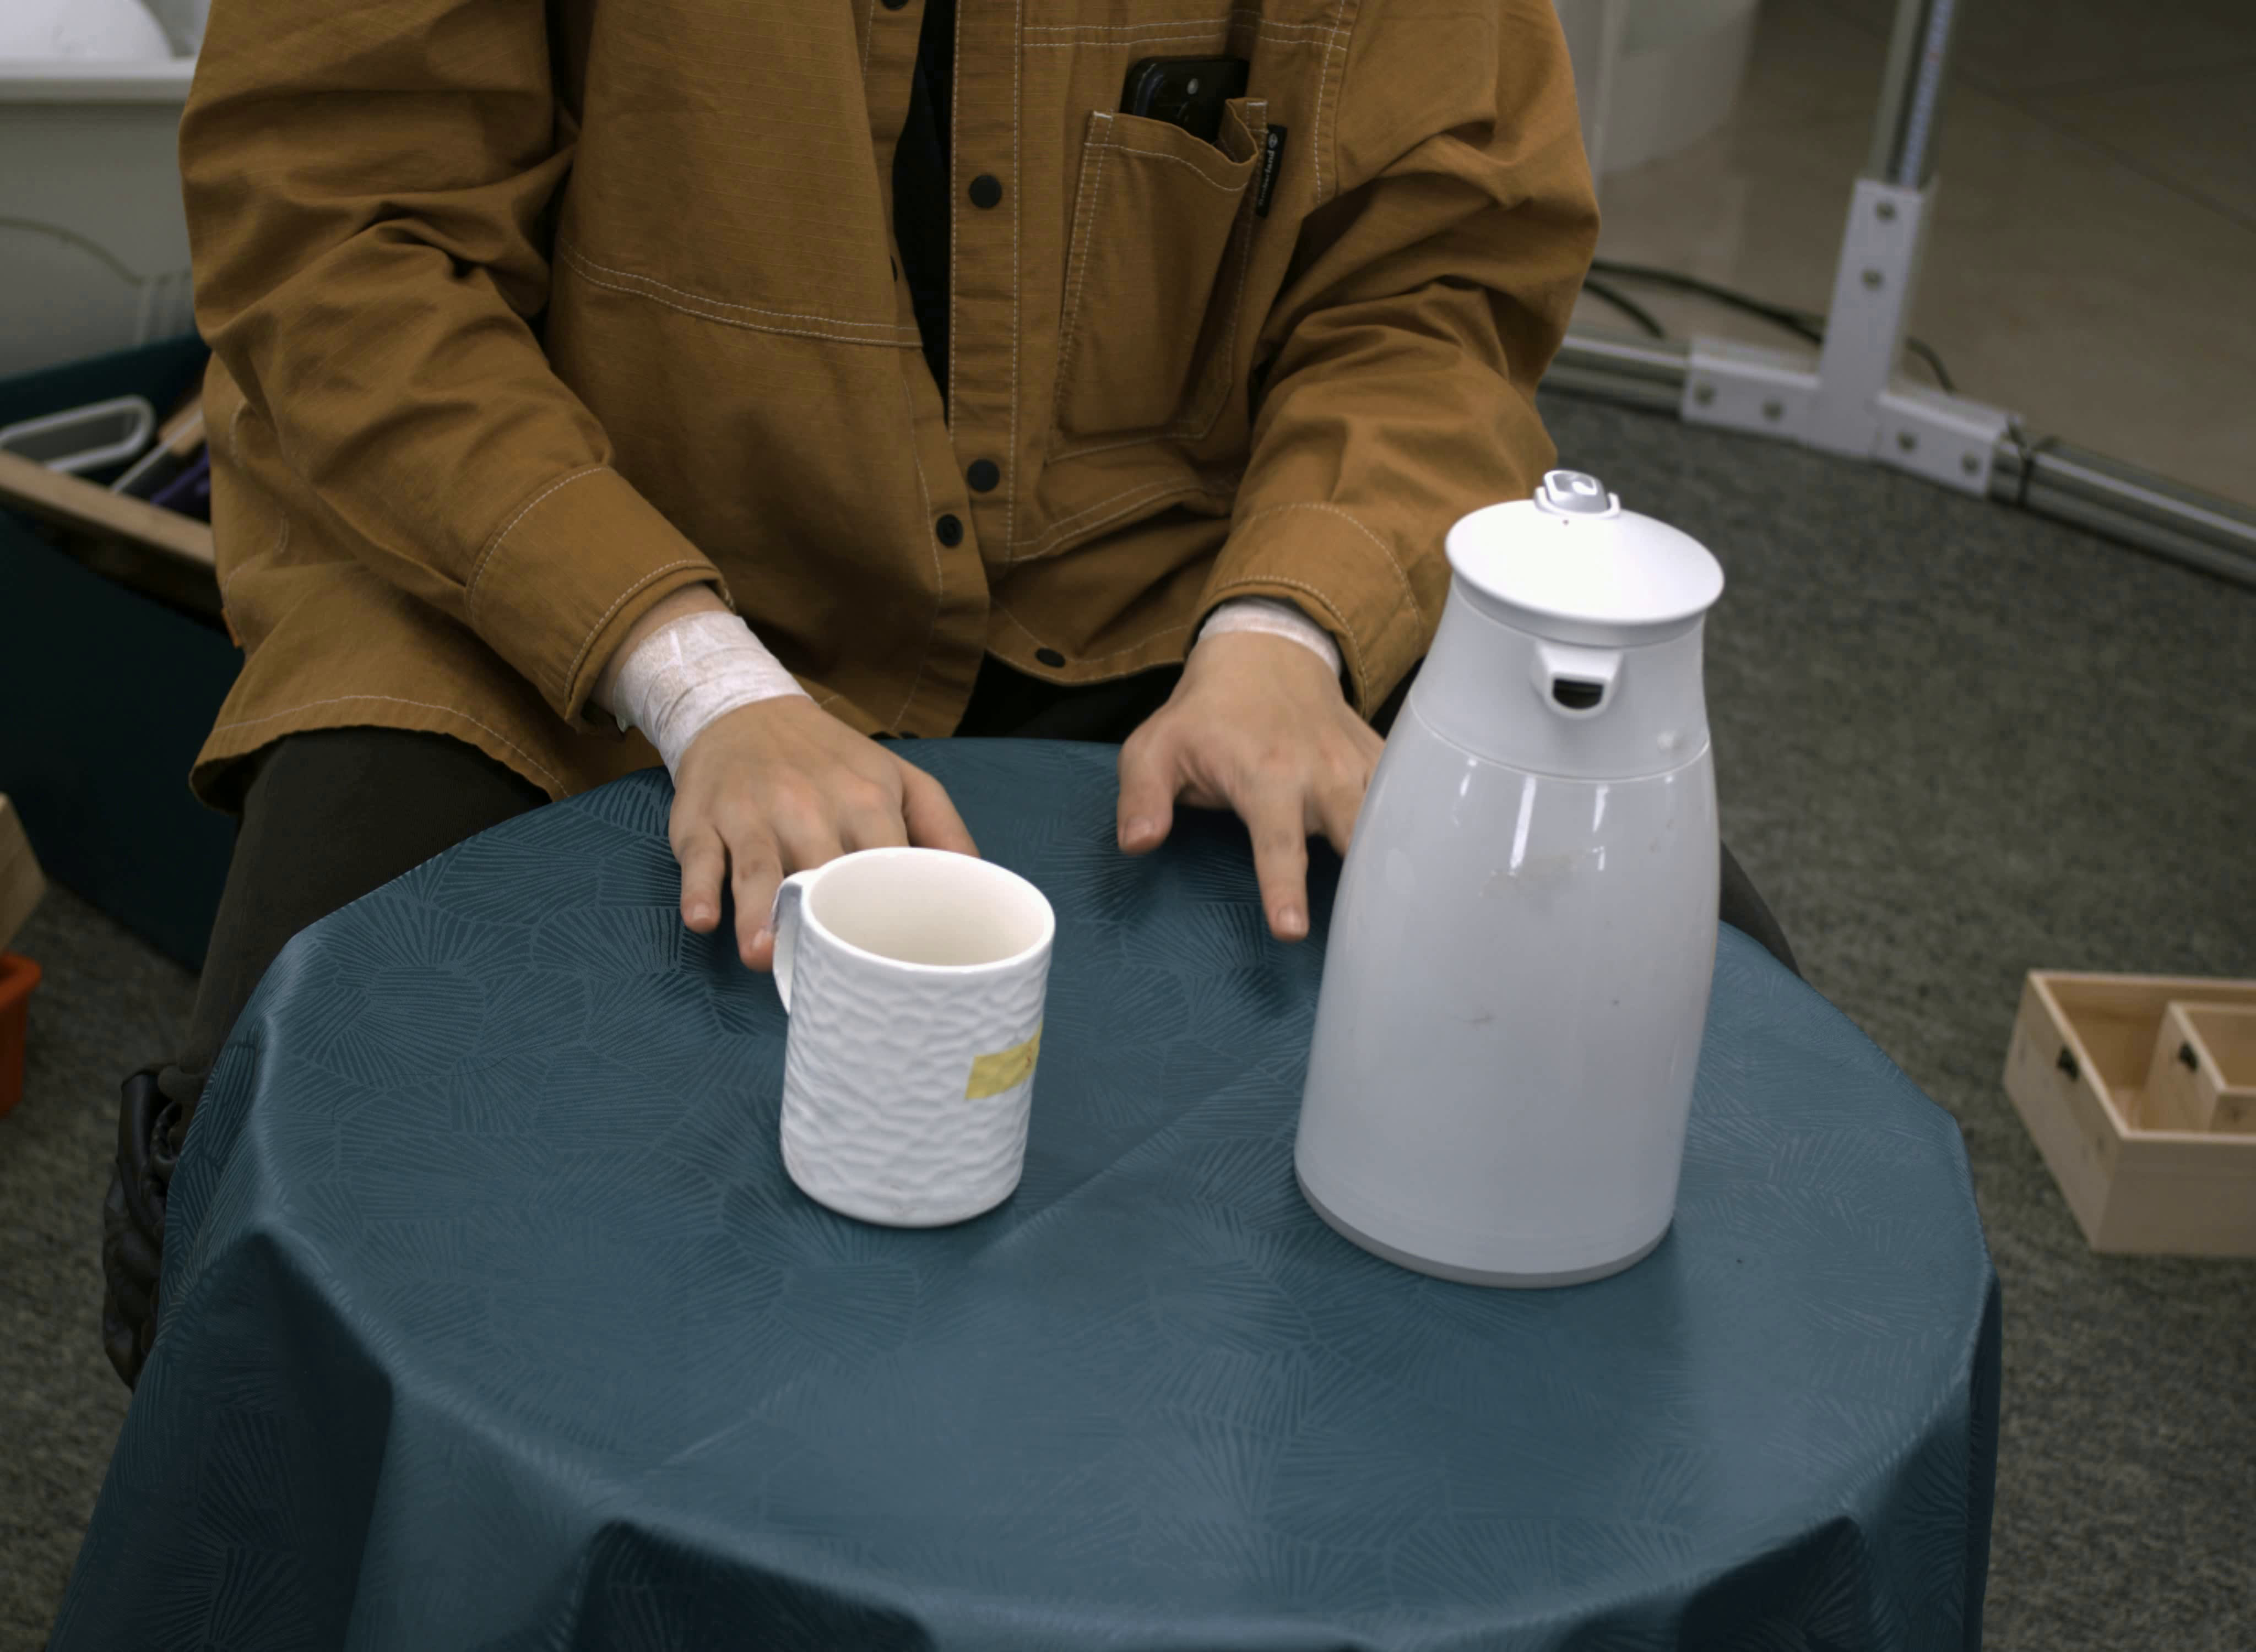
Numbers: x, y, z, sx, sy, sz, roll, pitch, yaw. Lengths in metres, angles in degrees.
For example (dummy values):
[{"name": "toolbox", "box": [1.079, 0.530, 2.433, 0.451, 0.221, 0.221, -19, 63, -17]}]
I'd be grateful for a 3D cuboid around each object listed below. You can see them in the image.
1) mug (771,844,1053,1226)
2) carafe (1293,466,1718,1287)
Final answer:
[{"name": "mug", "box": [-0.082, 0.064, 1.790, 0.084, 0.101, 0.119, -15, 34, -36]}, {"name": "carafe", "box": [0.134, 0.006, 1.793, 0.132, 0.248, 0.168, 6, 26, 0]}]
